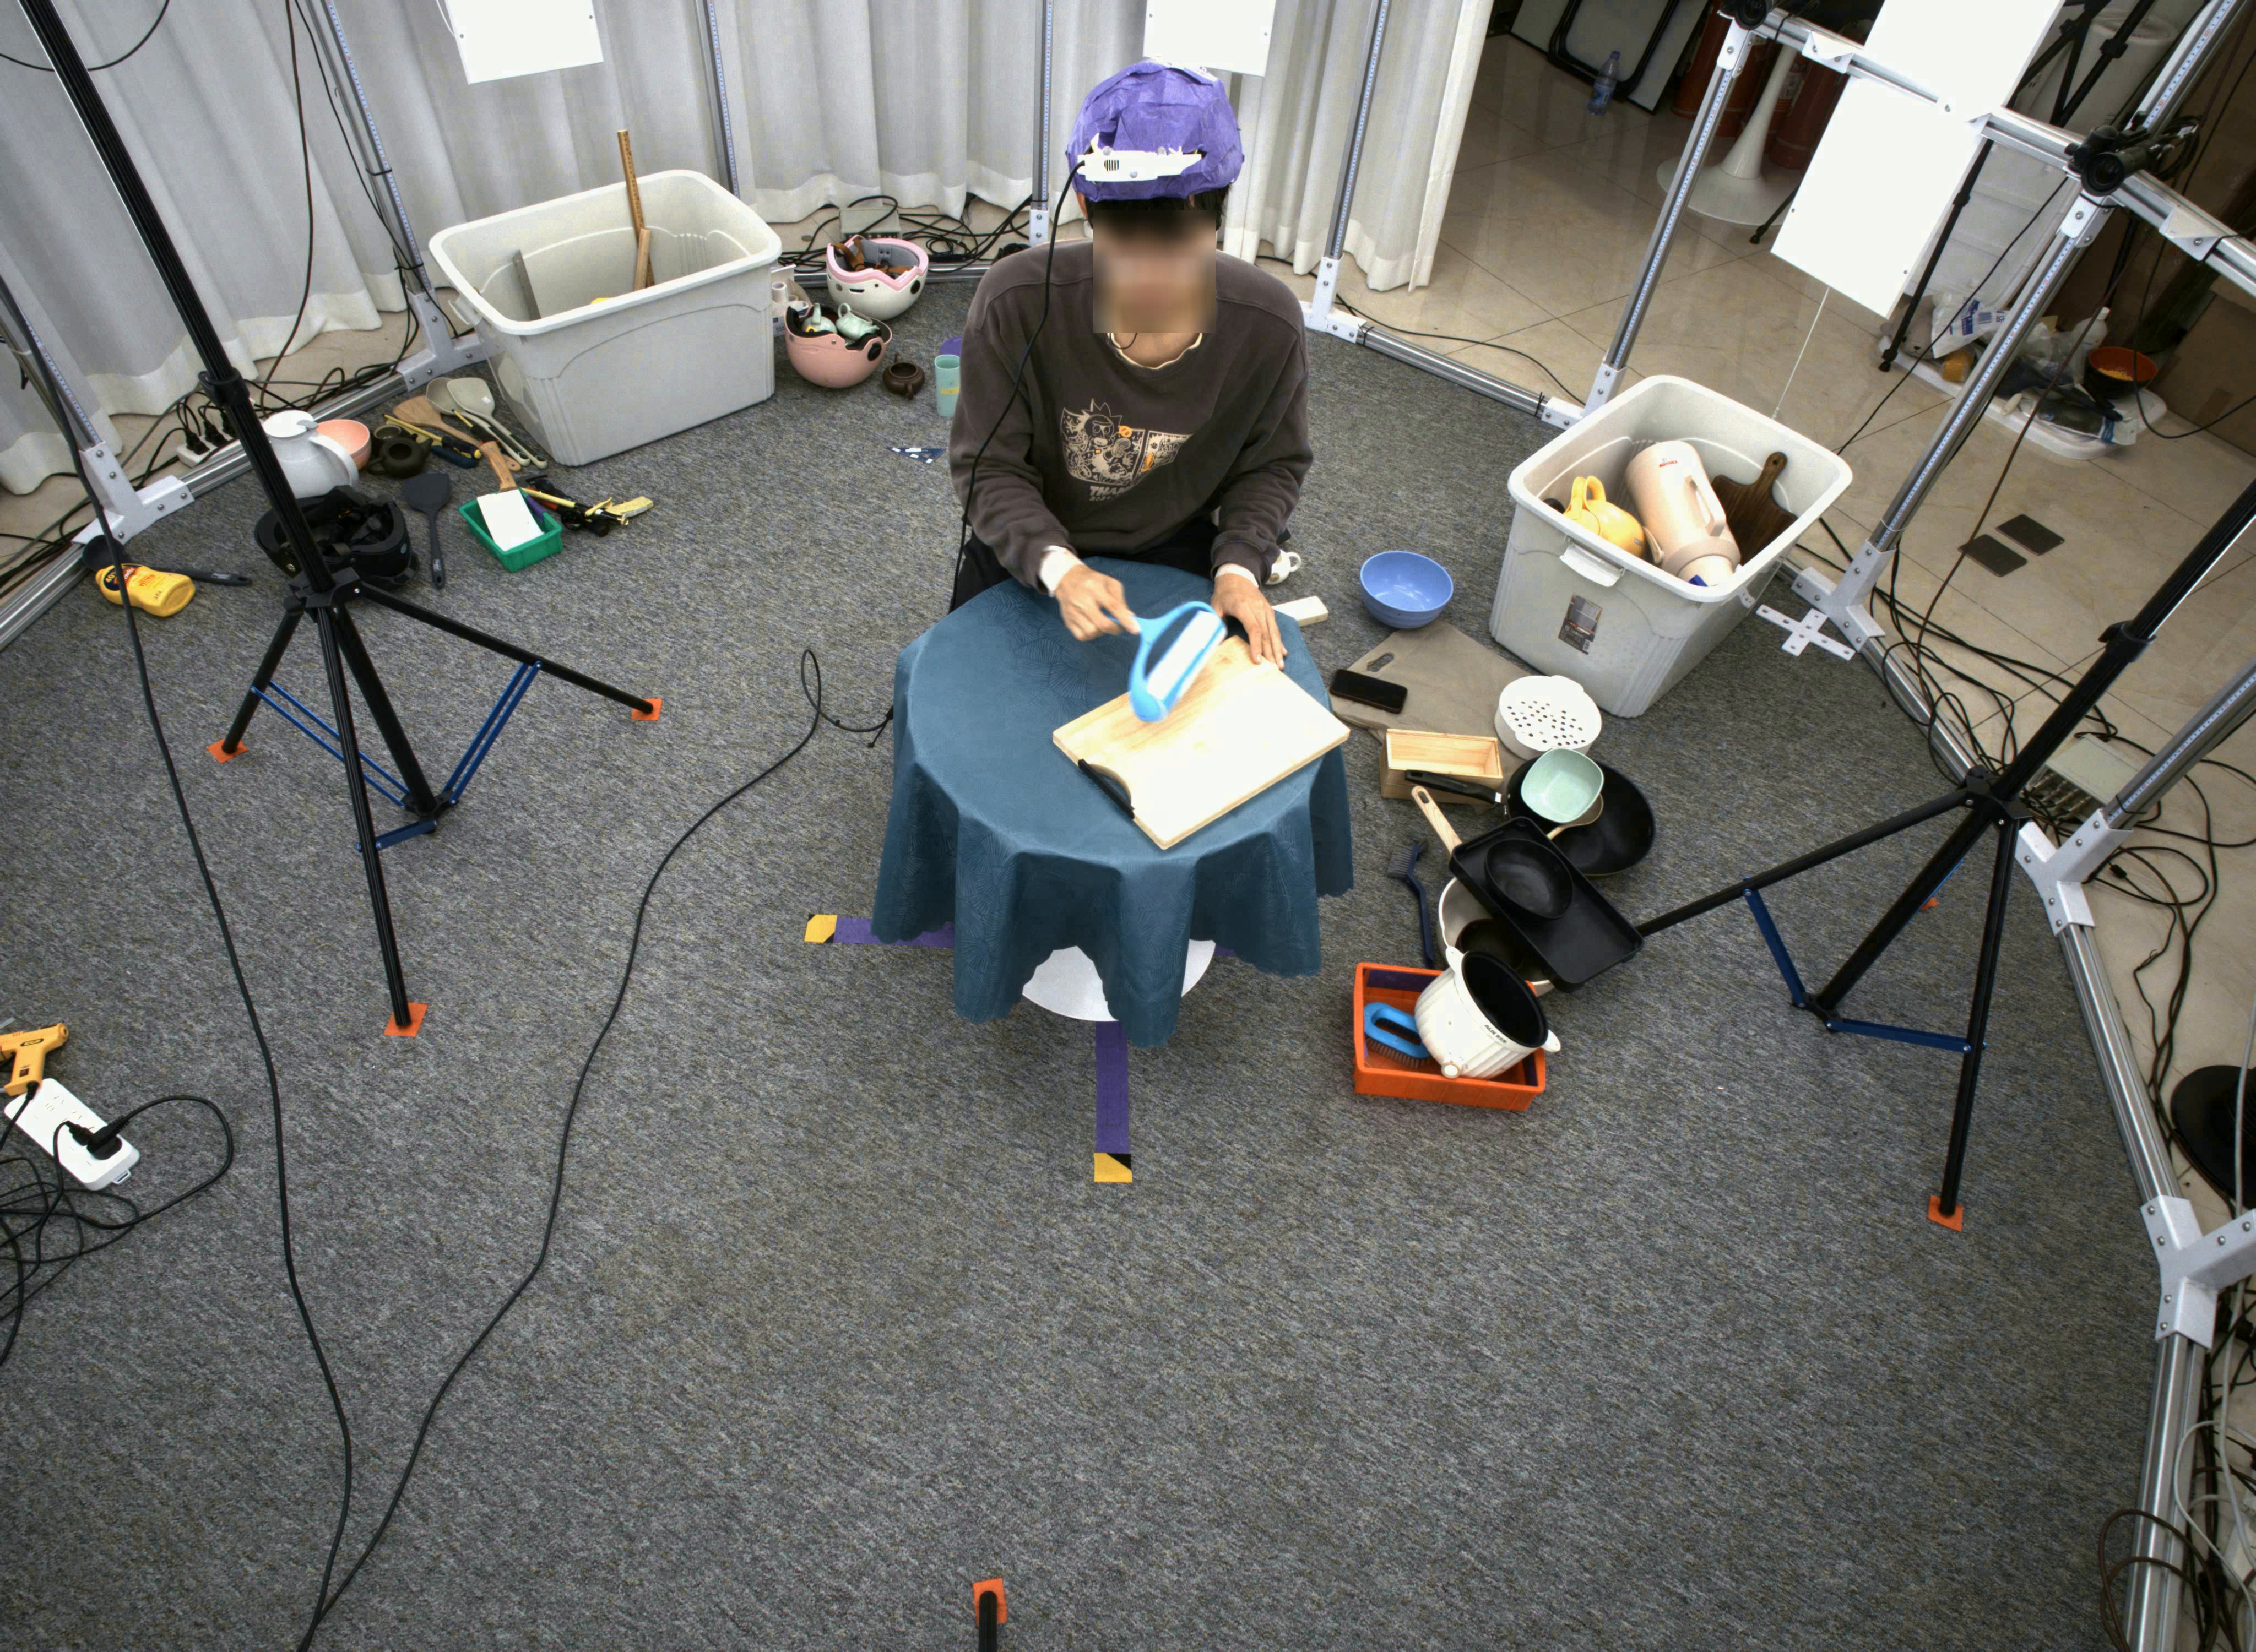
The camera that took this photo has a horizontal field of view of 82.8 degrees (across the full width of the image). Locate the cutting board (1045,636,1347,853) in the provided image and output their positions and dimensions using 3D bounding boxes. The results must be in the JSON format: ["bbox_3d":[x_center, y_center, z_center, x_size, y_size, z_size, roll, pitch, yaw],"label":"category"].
[{"bbox_3d":[0.097,-0.122,1.767,0.351,0.023,0.255,-31,57,-26],"label":"cutting board"}]

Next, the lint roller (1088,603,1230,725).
[{"bbox_3d":[0.028,-0.251,1.765,0.180,0.067,0.233,32,53,0],"label":"lint roller"}]
